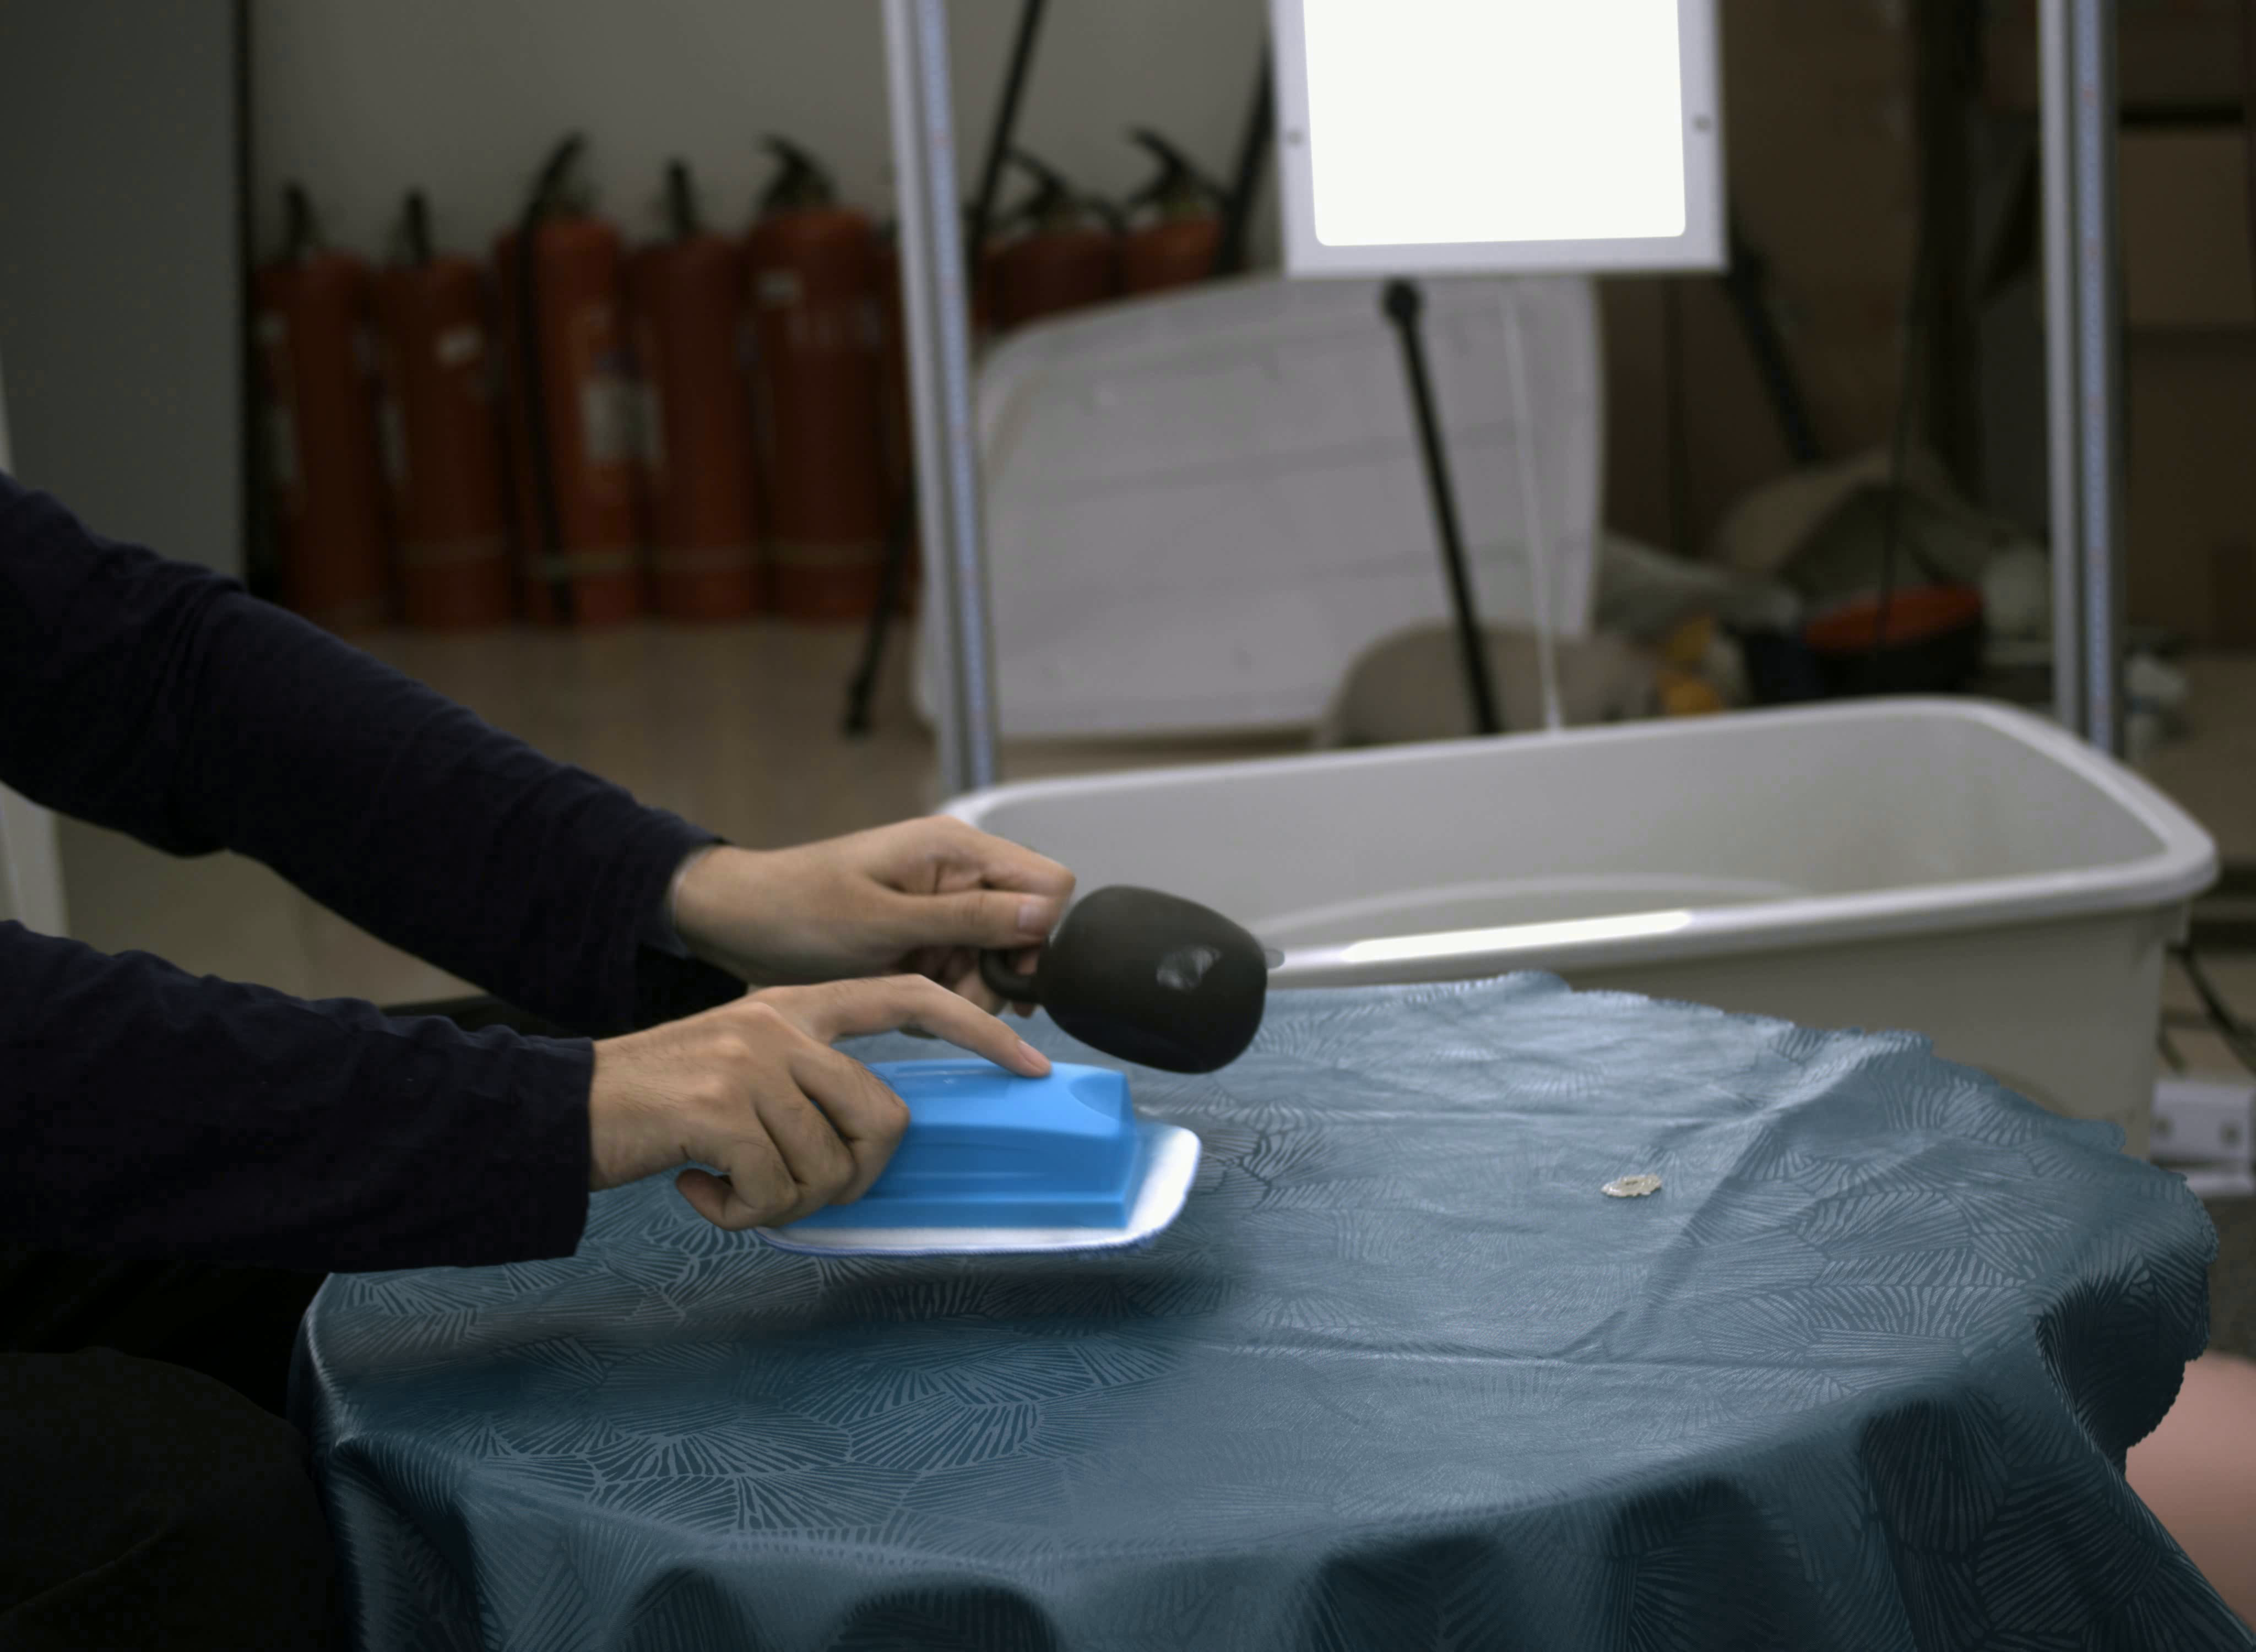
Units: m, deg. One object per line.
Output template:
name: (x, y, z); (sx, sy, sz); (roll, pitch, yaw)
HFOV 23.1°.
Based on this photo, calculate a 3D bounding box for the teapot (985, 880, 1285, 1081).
teapot: (-0.001, 0.052, 1.934); (0.116, 0.052, 0.082); (12, -21, 35)

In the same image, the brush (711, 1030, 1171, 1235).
brush: (-0.061, 0.098, 1.791); (0.145, 0.056, 0.082); (2, 24, 16)
